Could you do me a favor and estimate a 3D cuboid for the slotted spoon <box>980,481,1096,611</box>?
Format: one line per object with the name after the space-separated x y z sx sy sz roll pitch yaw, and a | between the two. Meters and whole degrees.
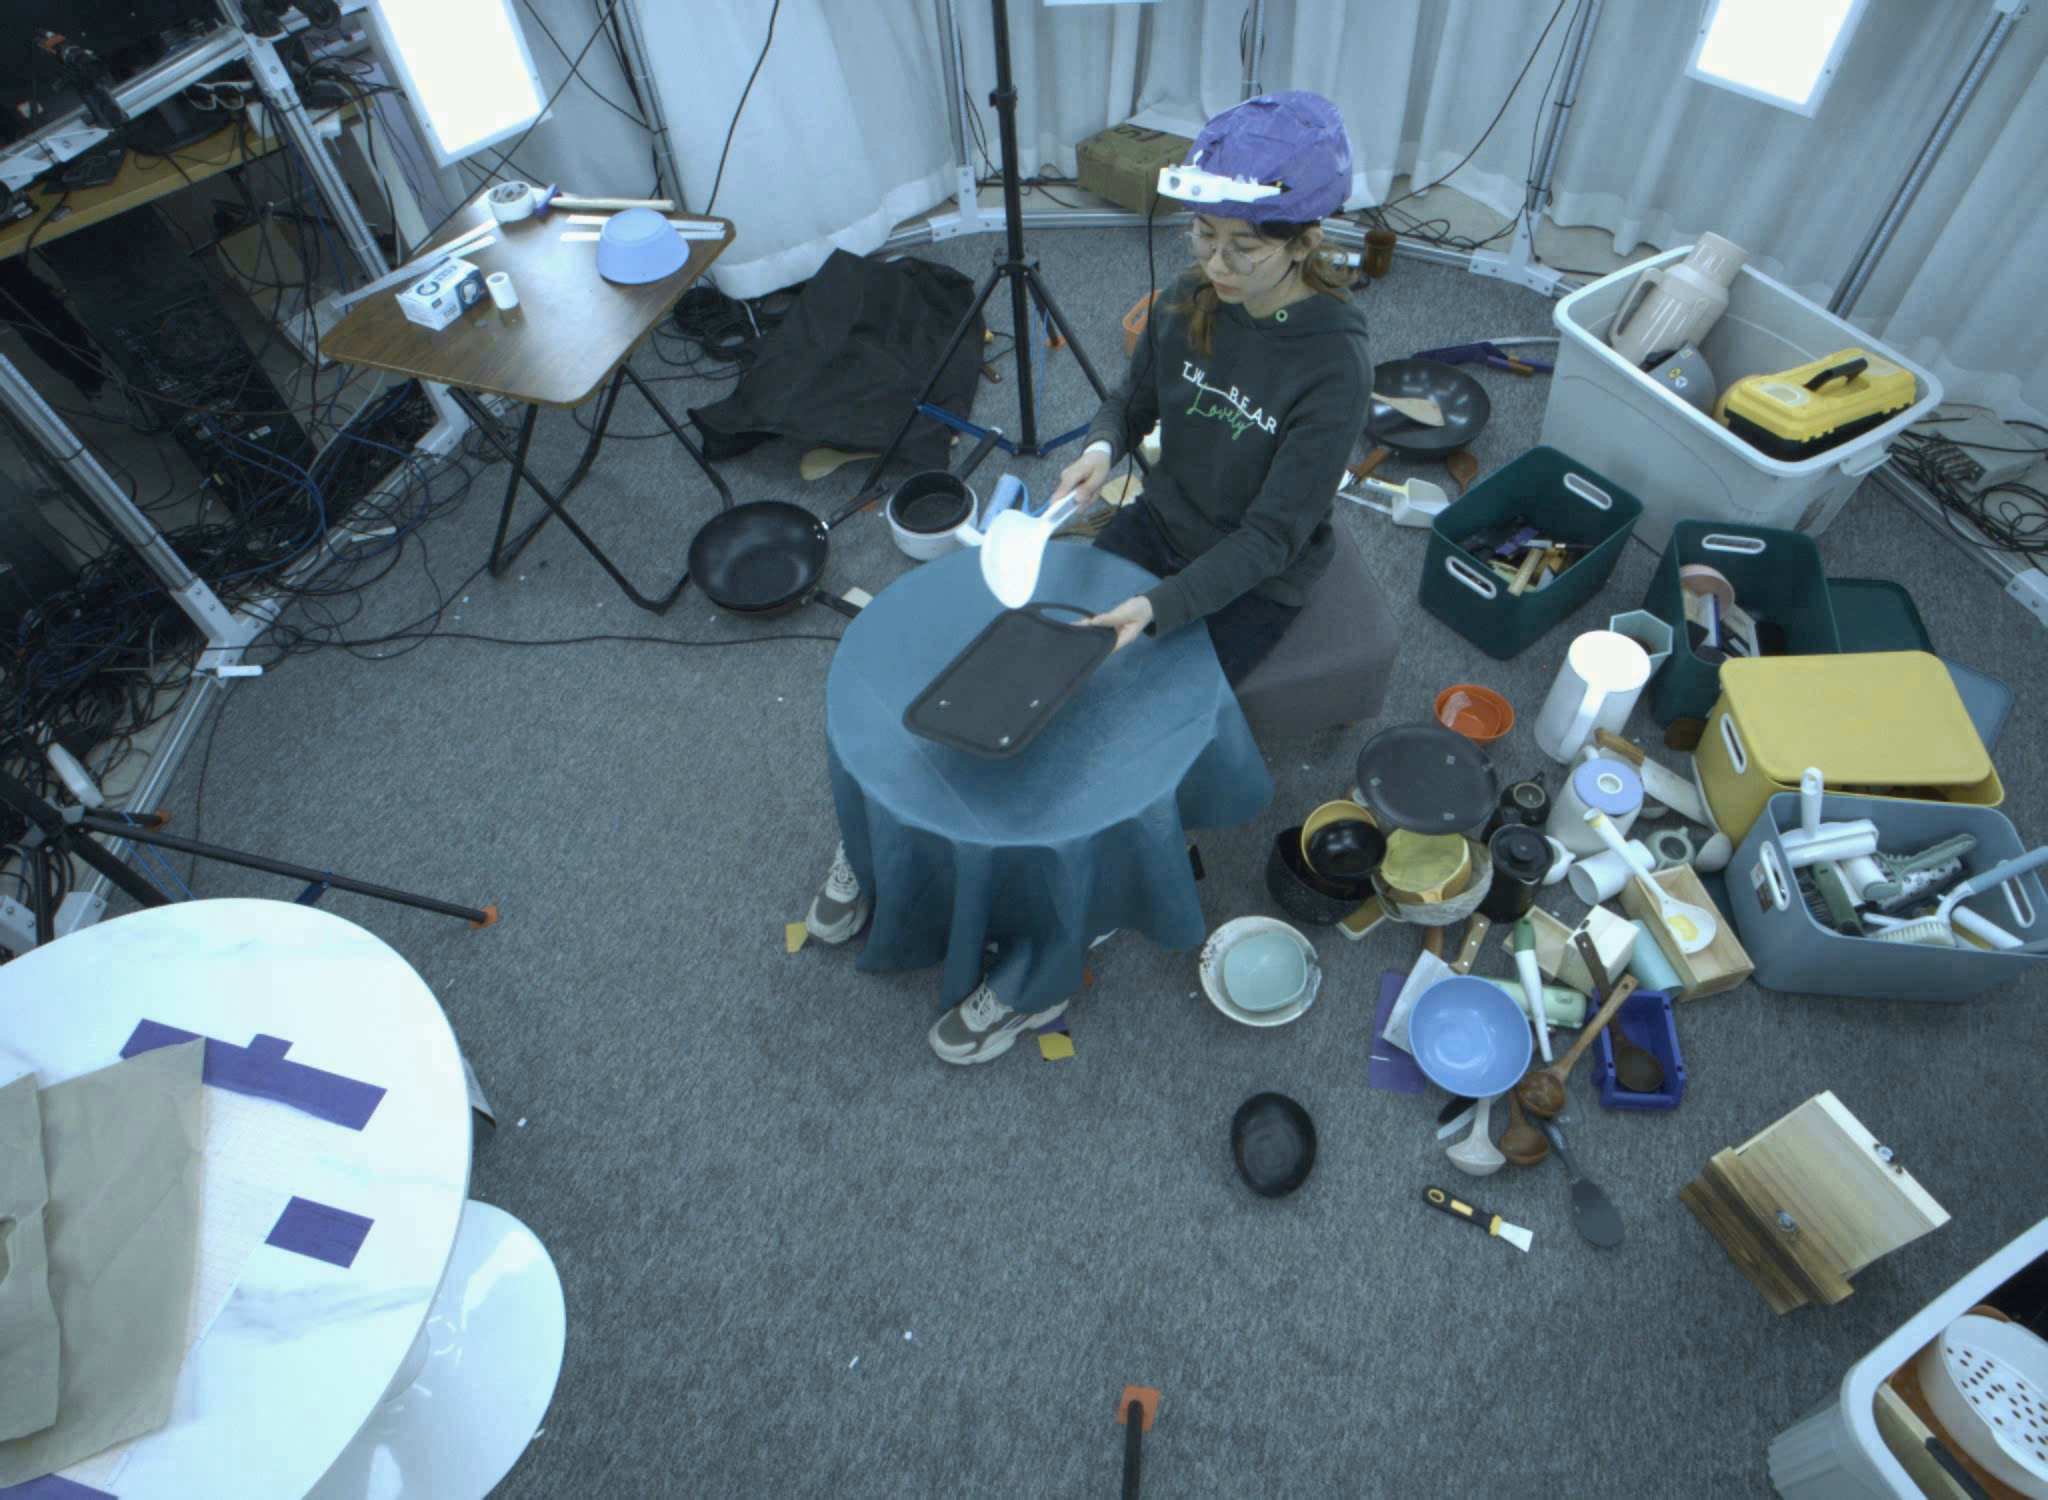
0.025 -0.321 1.795 0.045 0.138 0.352 8 36 33 | slotted spoon

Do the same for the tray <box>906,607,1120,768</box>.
-0.010 -0.103 1.757 0.207 0.010 0.327 21 53 31 | tray
